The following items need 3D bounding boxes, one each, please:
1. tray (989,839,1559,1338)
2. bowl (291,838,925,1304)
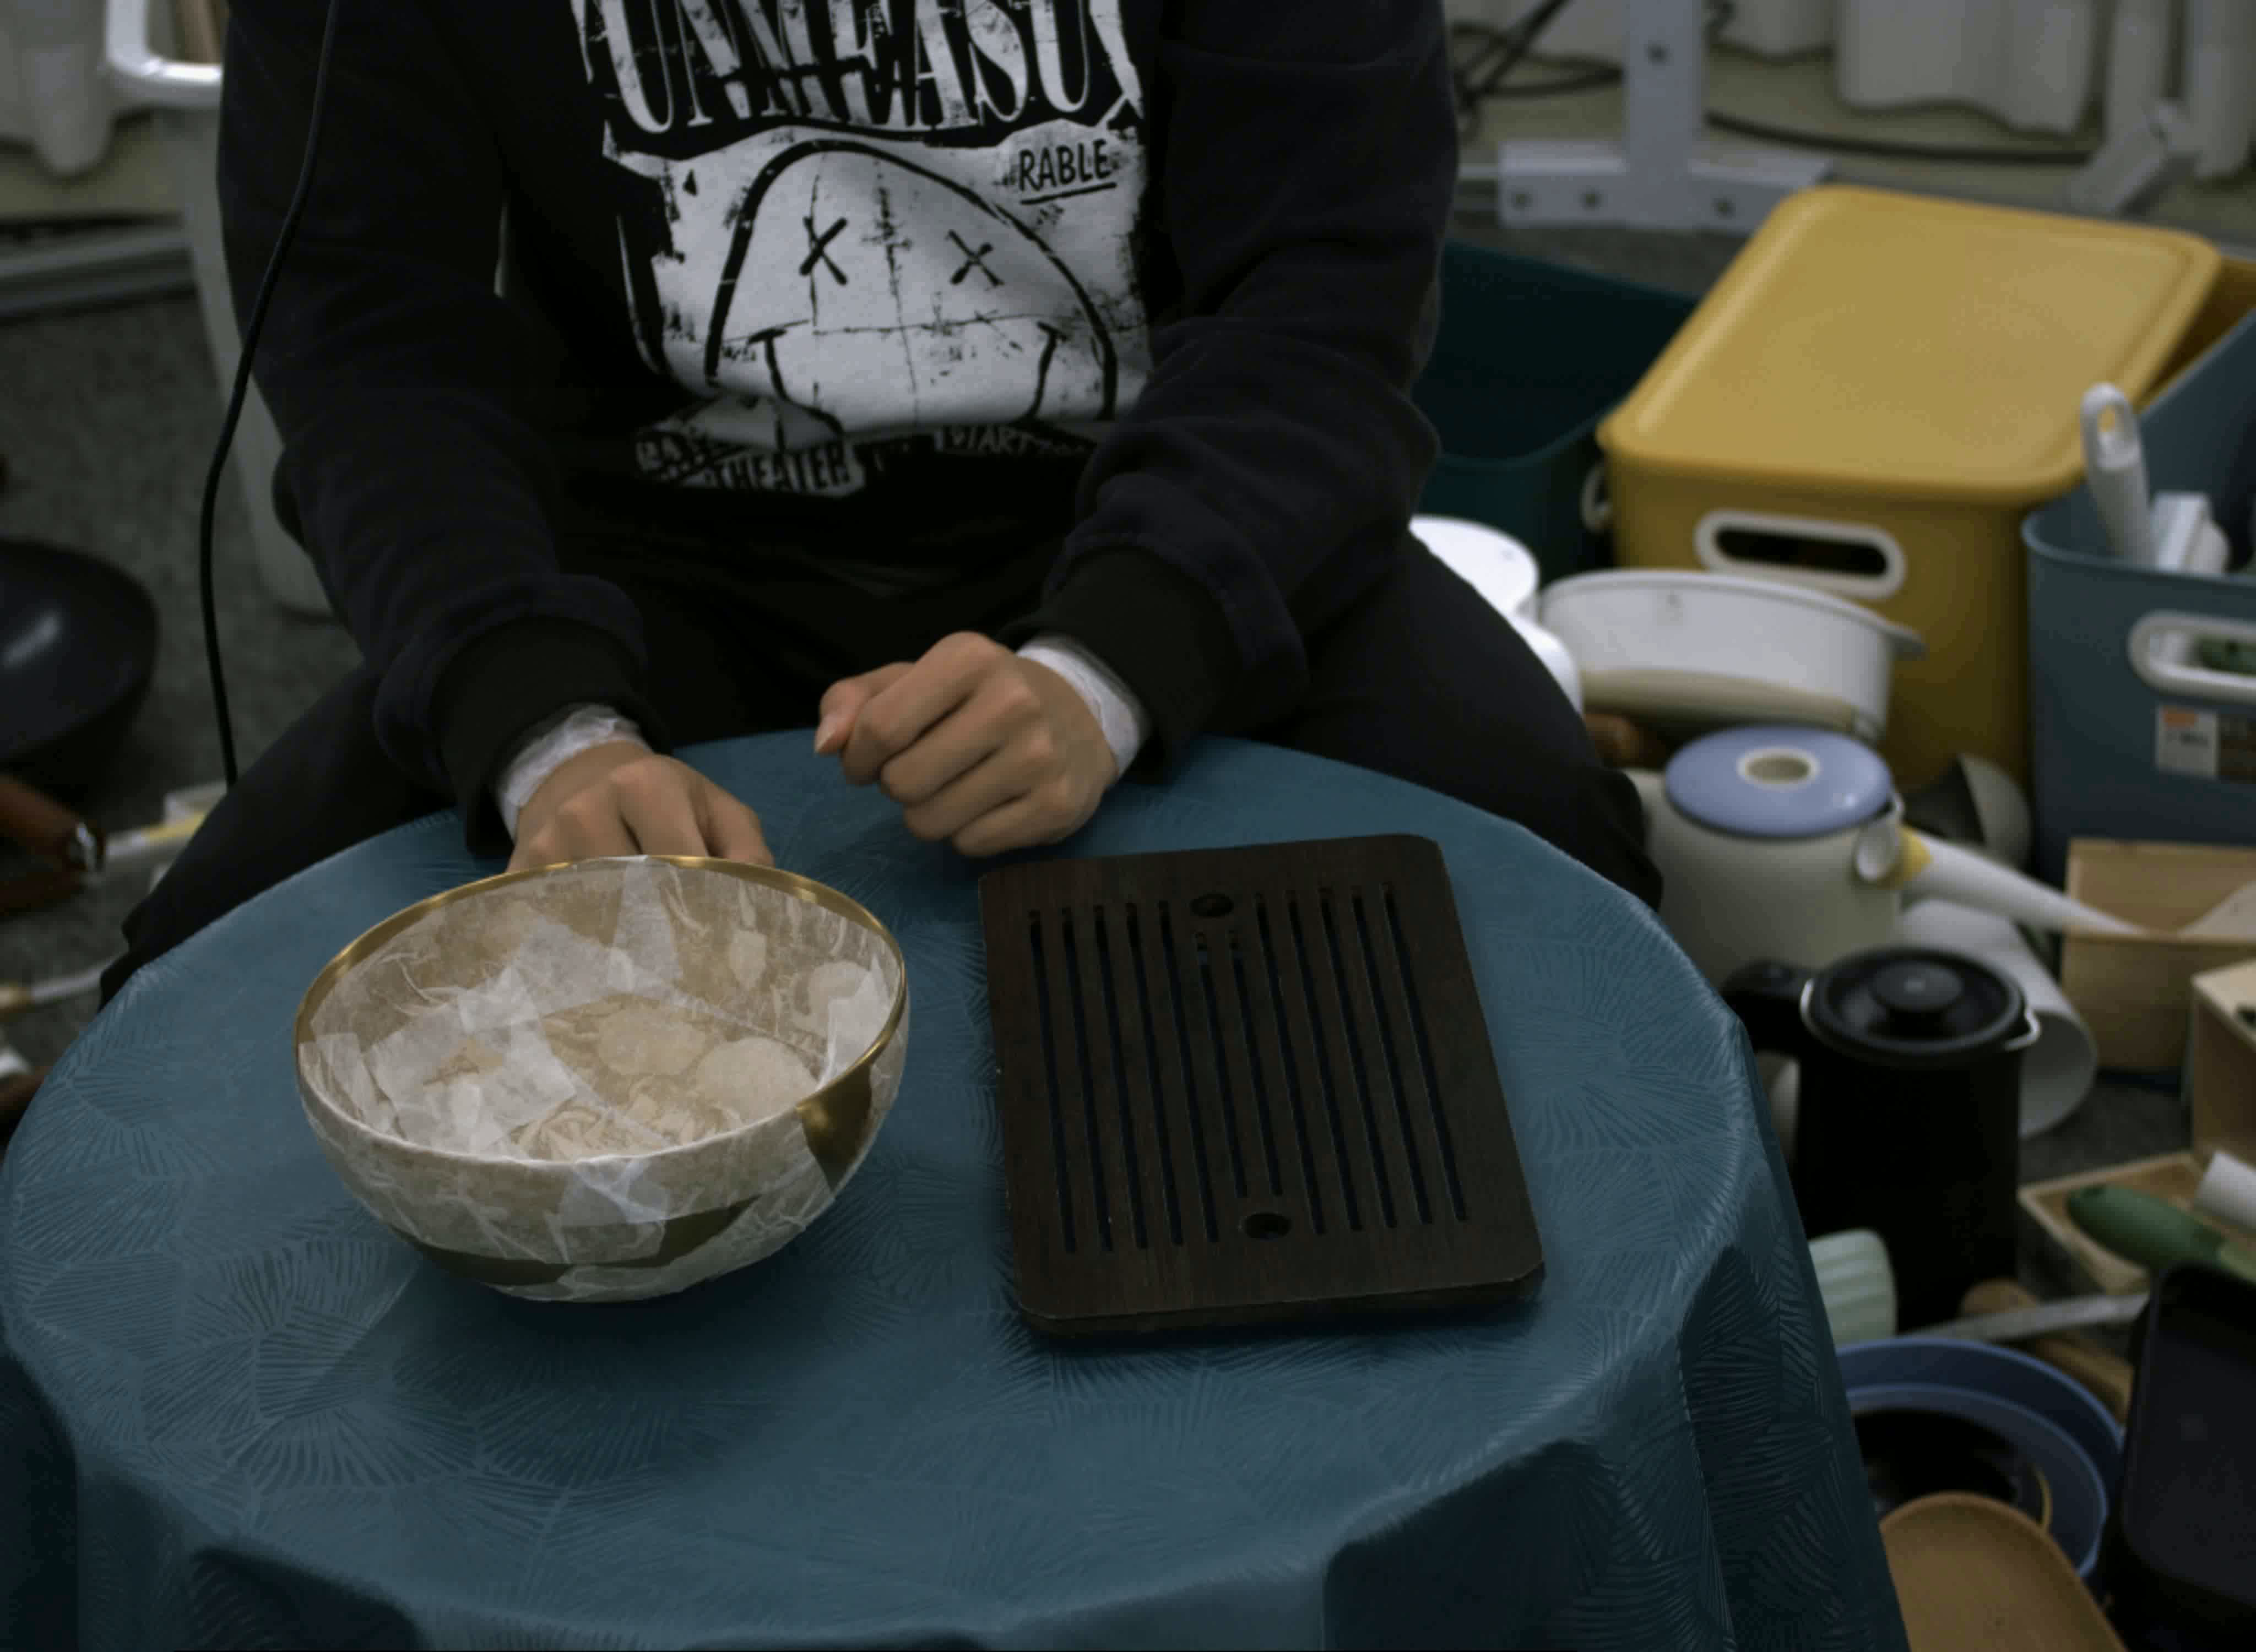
[{"bbox_3d":[0.043,0.086,1.906,0.169,0.018,0.310,-4,27,-2],"label":"tray"},{"bbox_3d":[-0.164,0.093,1.833,0.213,0.093,0.218,-3,27,2],"label":"bowl"}]
